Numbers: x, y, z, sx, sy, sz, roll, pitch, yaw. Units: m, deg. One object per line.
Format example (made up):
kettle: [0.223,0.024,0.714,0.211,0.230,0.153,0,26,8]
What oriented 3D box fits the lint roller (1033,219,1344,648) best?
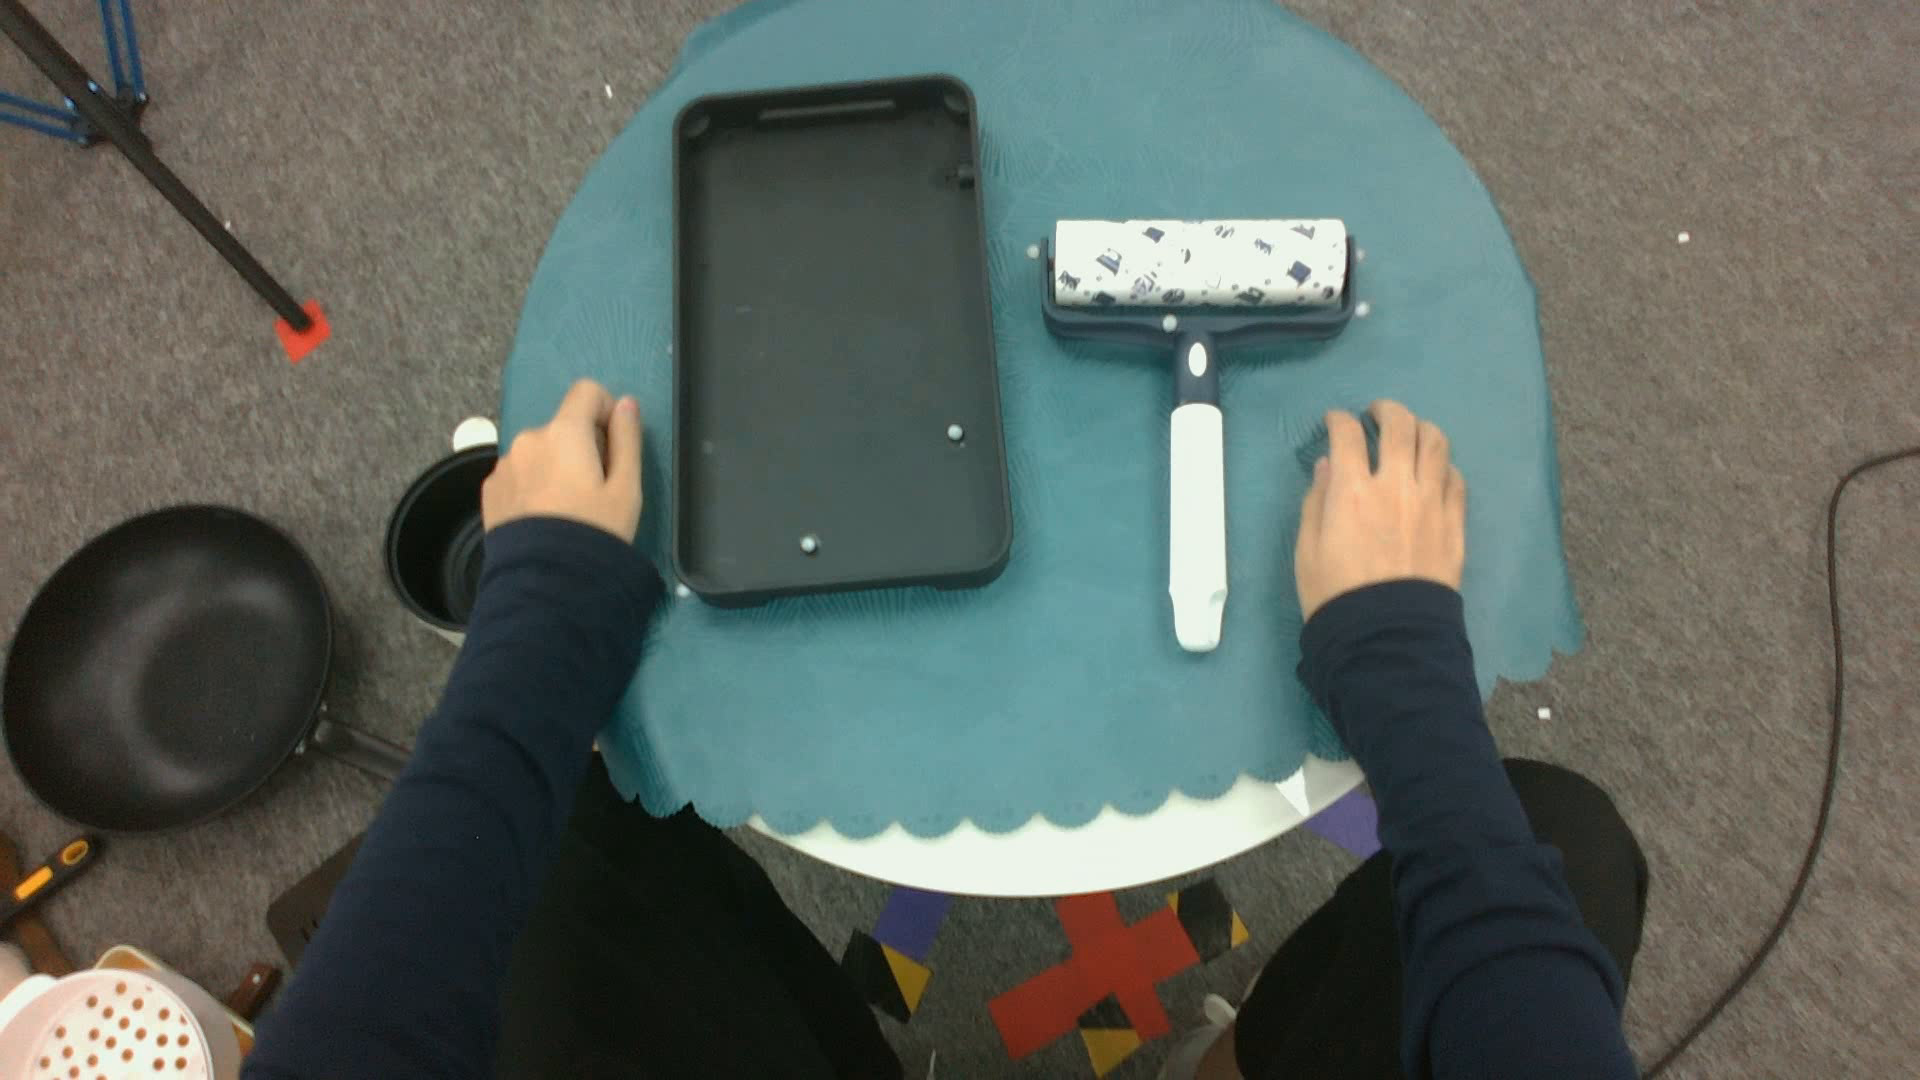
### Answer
lint roller: [0.127,-0.064,0.757,0.176,0.050,0.248,1,71,2]

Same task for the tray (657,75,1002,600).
tray: [-0.078,-0.123,0.793,0.184,0.037,0.319,-5,68,1]
